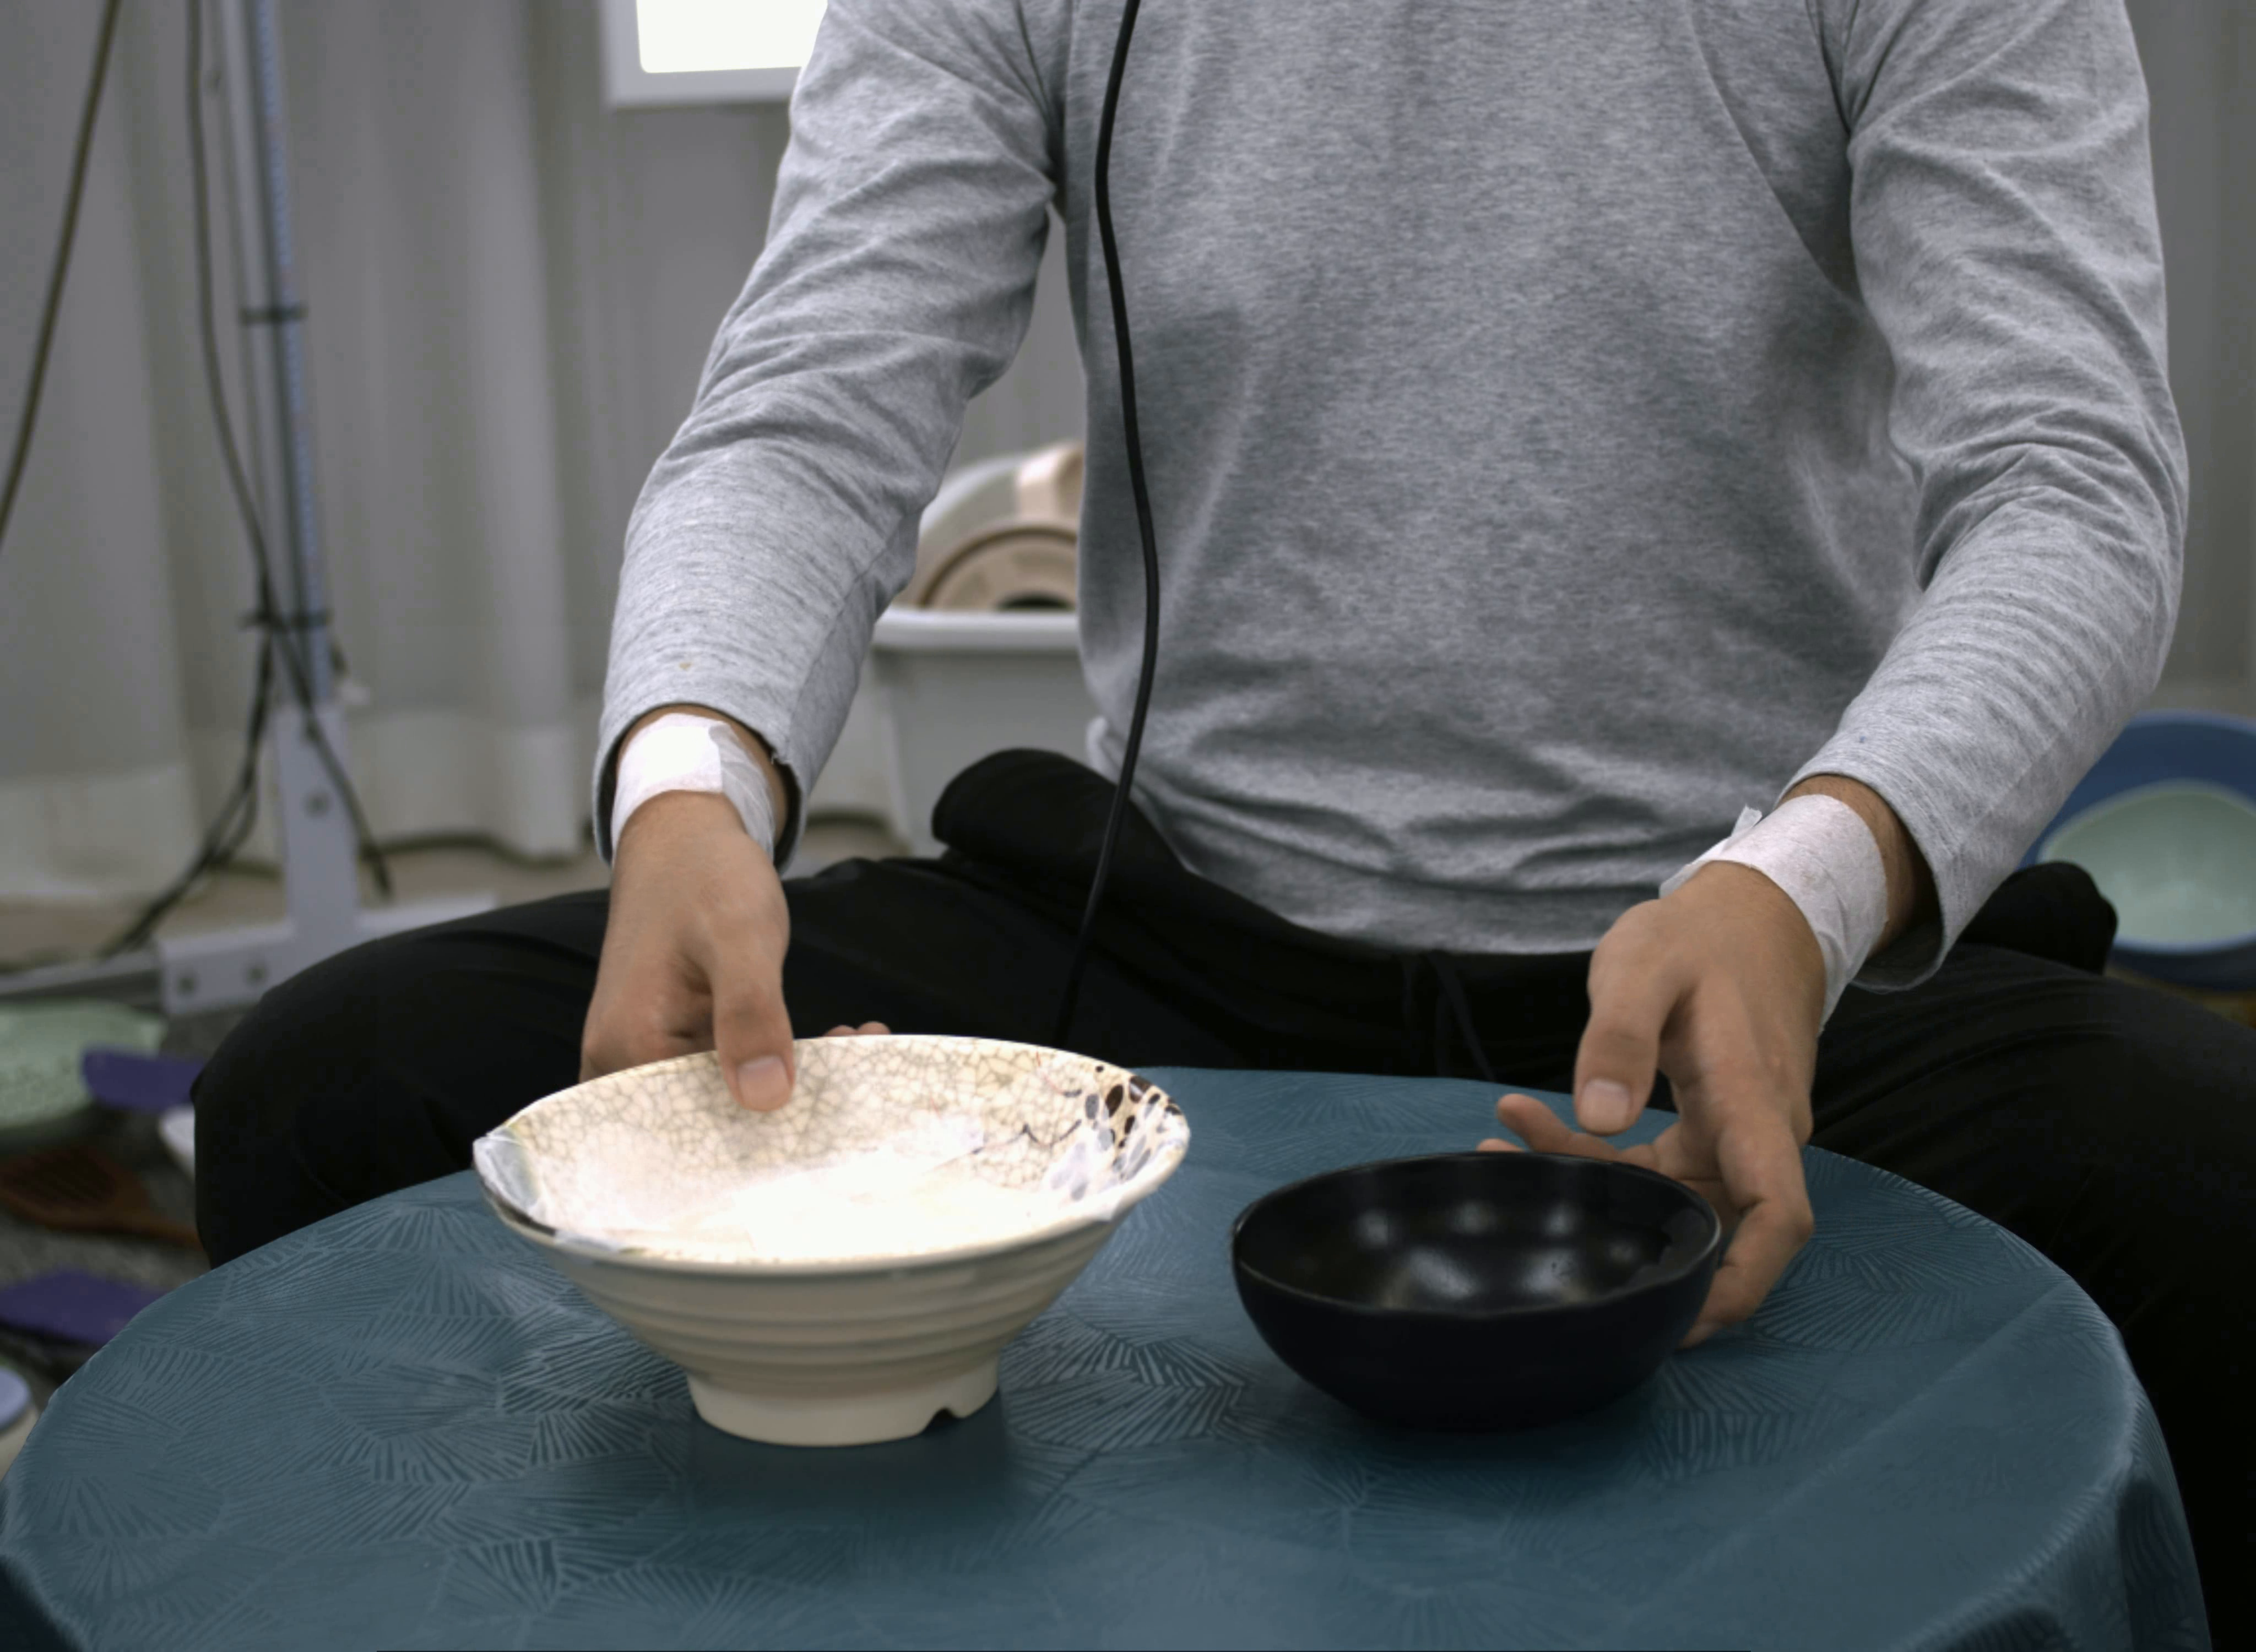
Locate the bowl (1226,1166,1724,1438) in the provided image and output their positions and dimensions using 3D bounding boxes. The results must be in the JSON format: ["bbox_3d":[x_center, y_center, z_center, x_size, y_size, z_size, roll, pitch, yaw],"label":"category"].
[{"bbox_3d":[0.097,0.137,1.527,0.139,0.049,0.141,-1,12,0],"label":"bowl"}]

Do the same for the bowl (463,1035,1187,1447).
[{"bbox_3d":[-0.084,0.124,1.546,0.203,0.077,0.205,-2,14,0],"label":"bowl"}]
